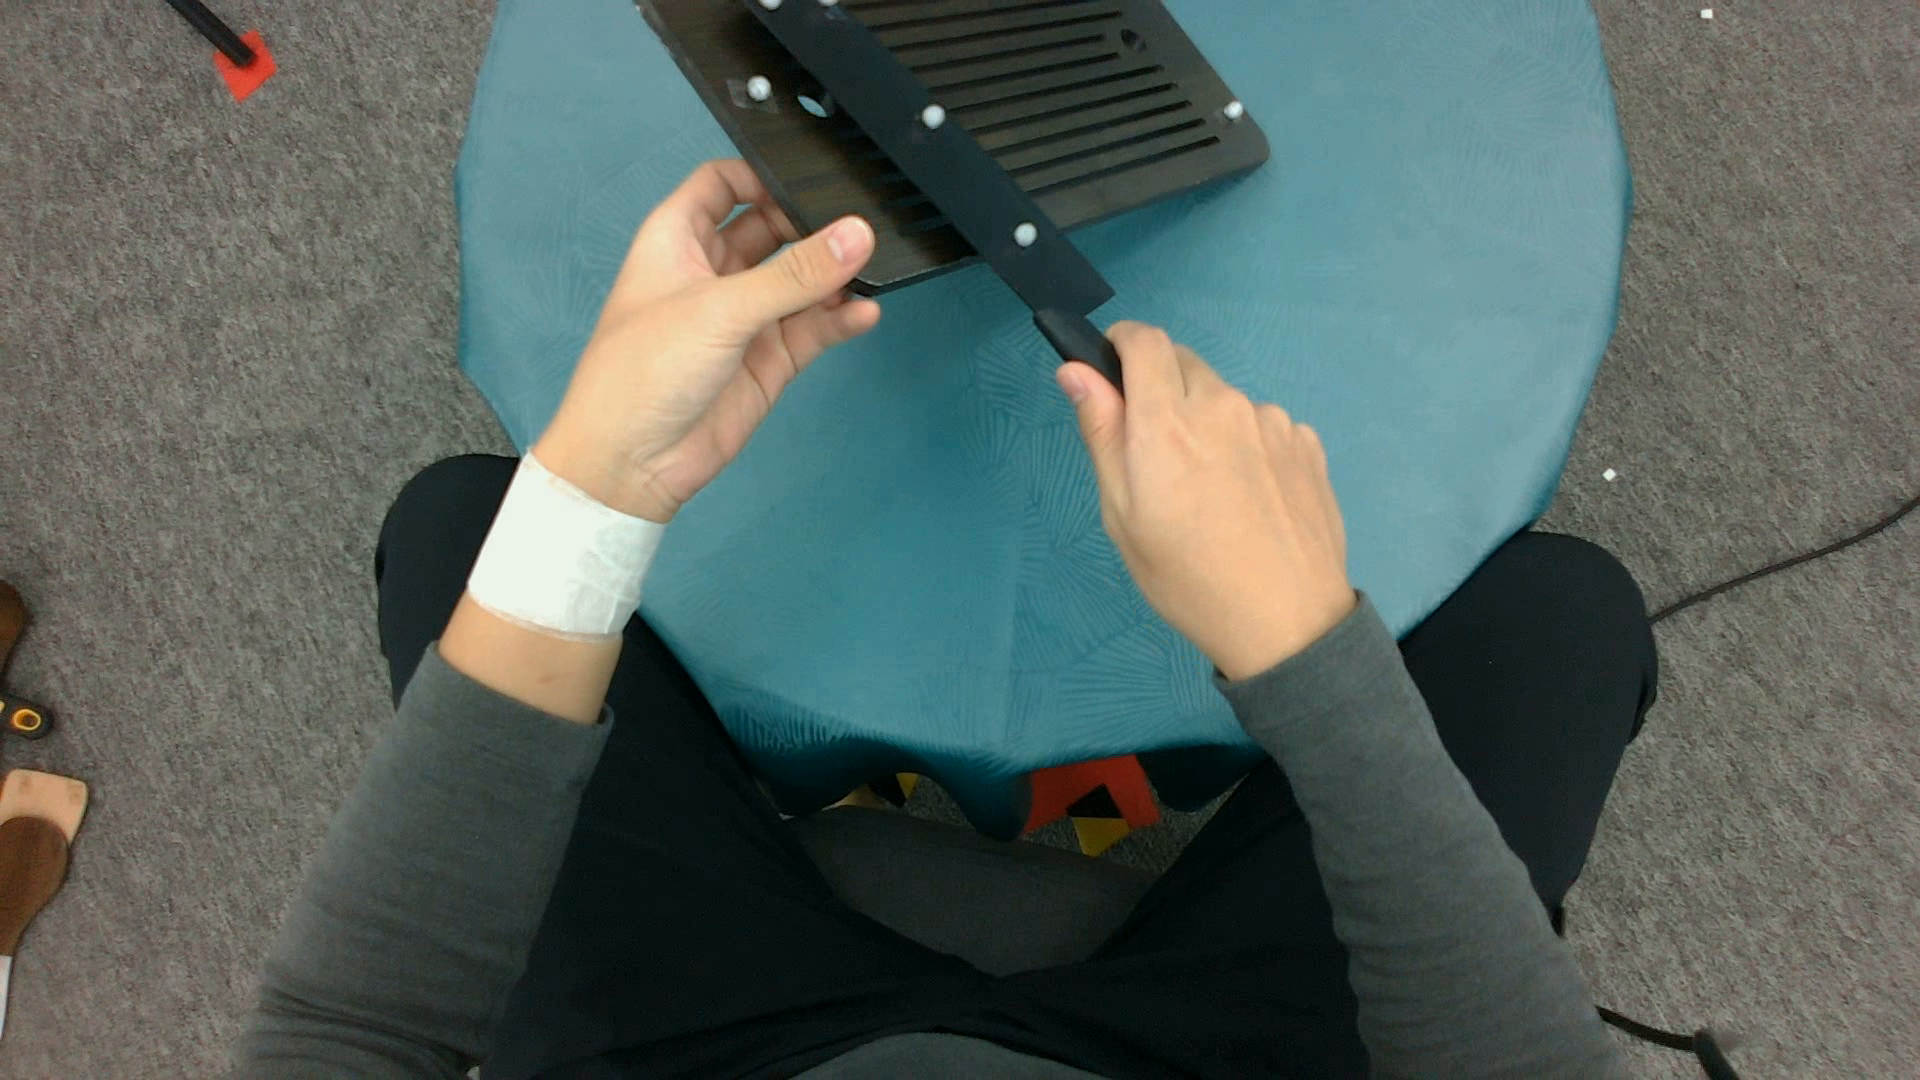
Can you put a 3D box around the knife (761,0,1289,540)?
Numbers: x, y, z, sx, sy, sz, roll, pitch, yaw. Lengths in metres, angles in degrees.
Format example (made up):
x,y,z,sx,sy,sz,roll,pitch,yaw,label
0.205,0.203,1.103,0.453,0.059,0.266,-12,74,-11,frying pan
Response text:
x,y,z,sx,sy,sz,roll,pitch,yaw,label
0.026,-0.119,0.552,0.302,0.081,0.021,51,129,5,knife

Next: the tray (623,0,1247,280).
x,y,z,sx,sy,sz,roll,pitch,yaw,label
0.002,-0.214,0.617,0.307,0.018,0.170,-29,80,-42,tray
